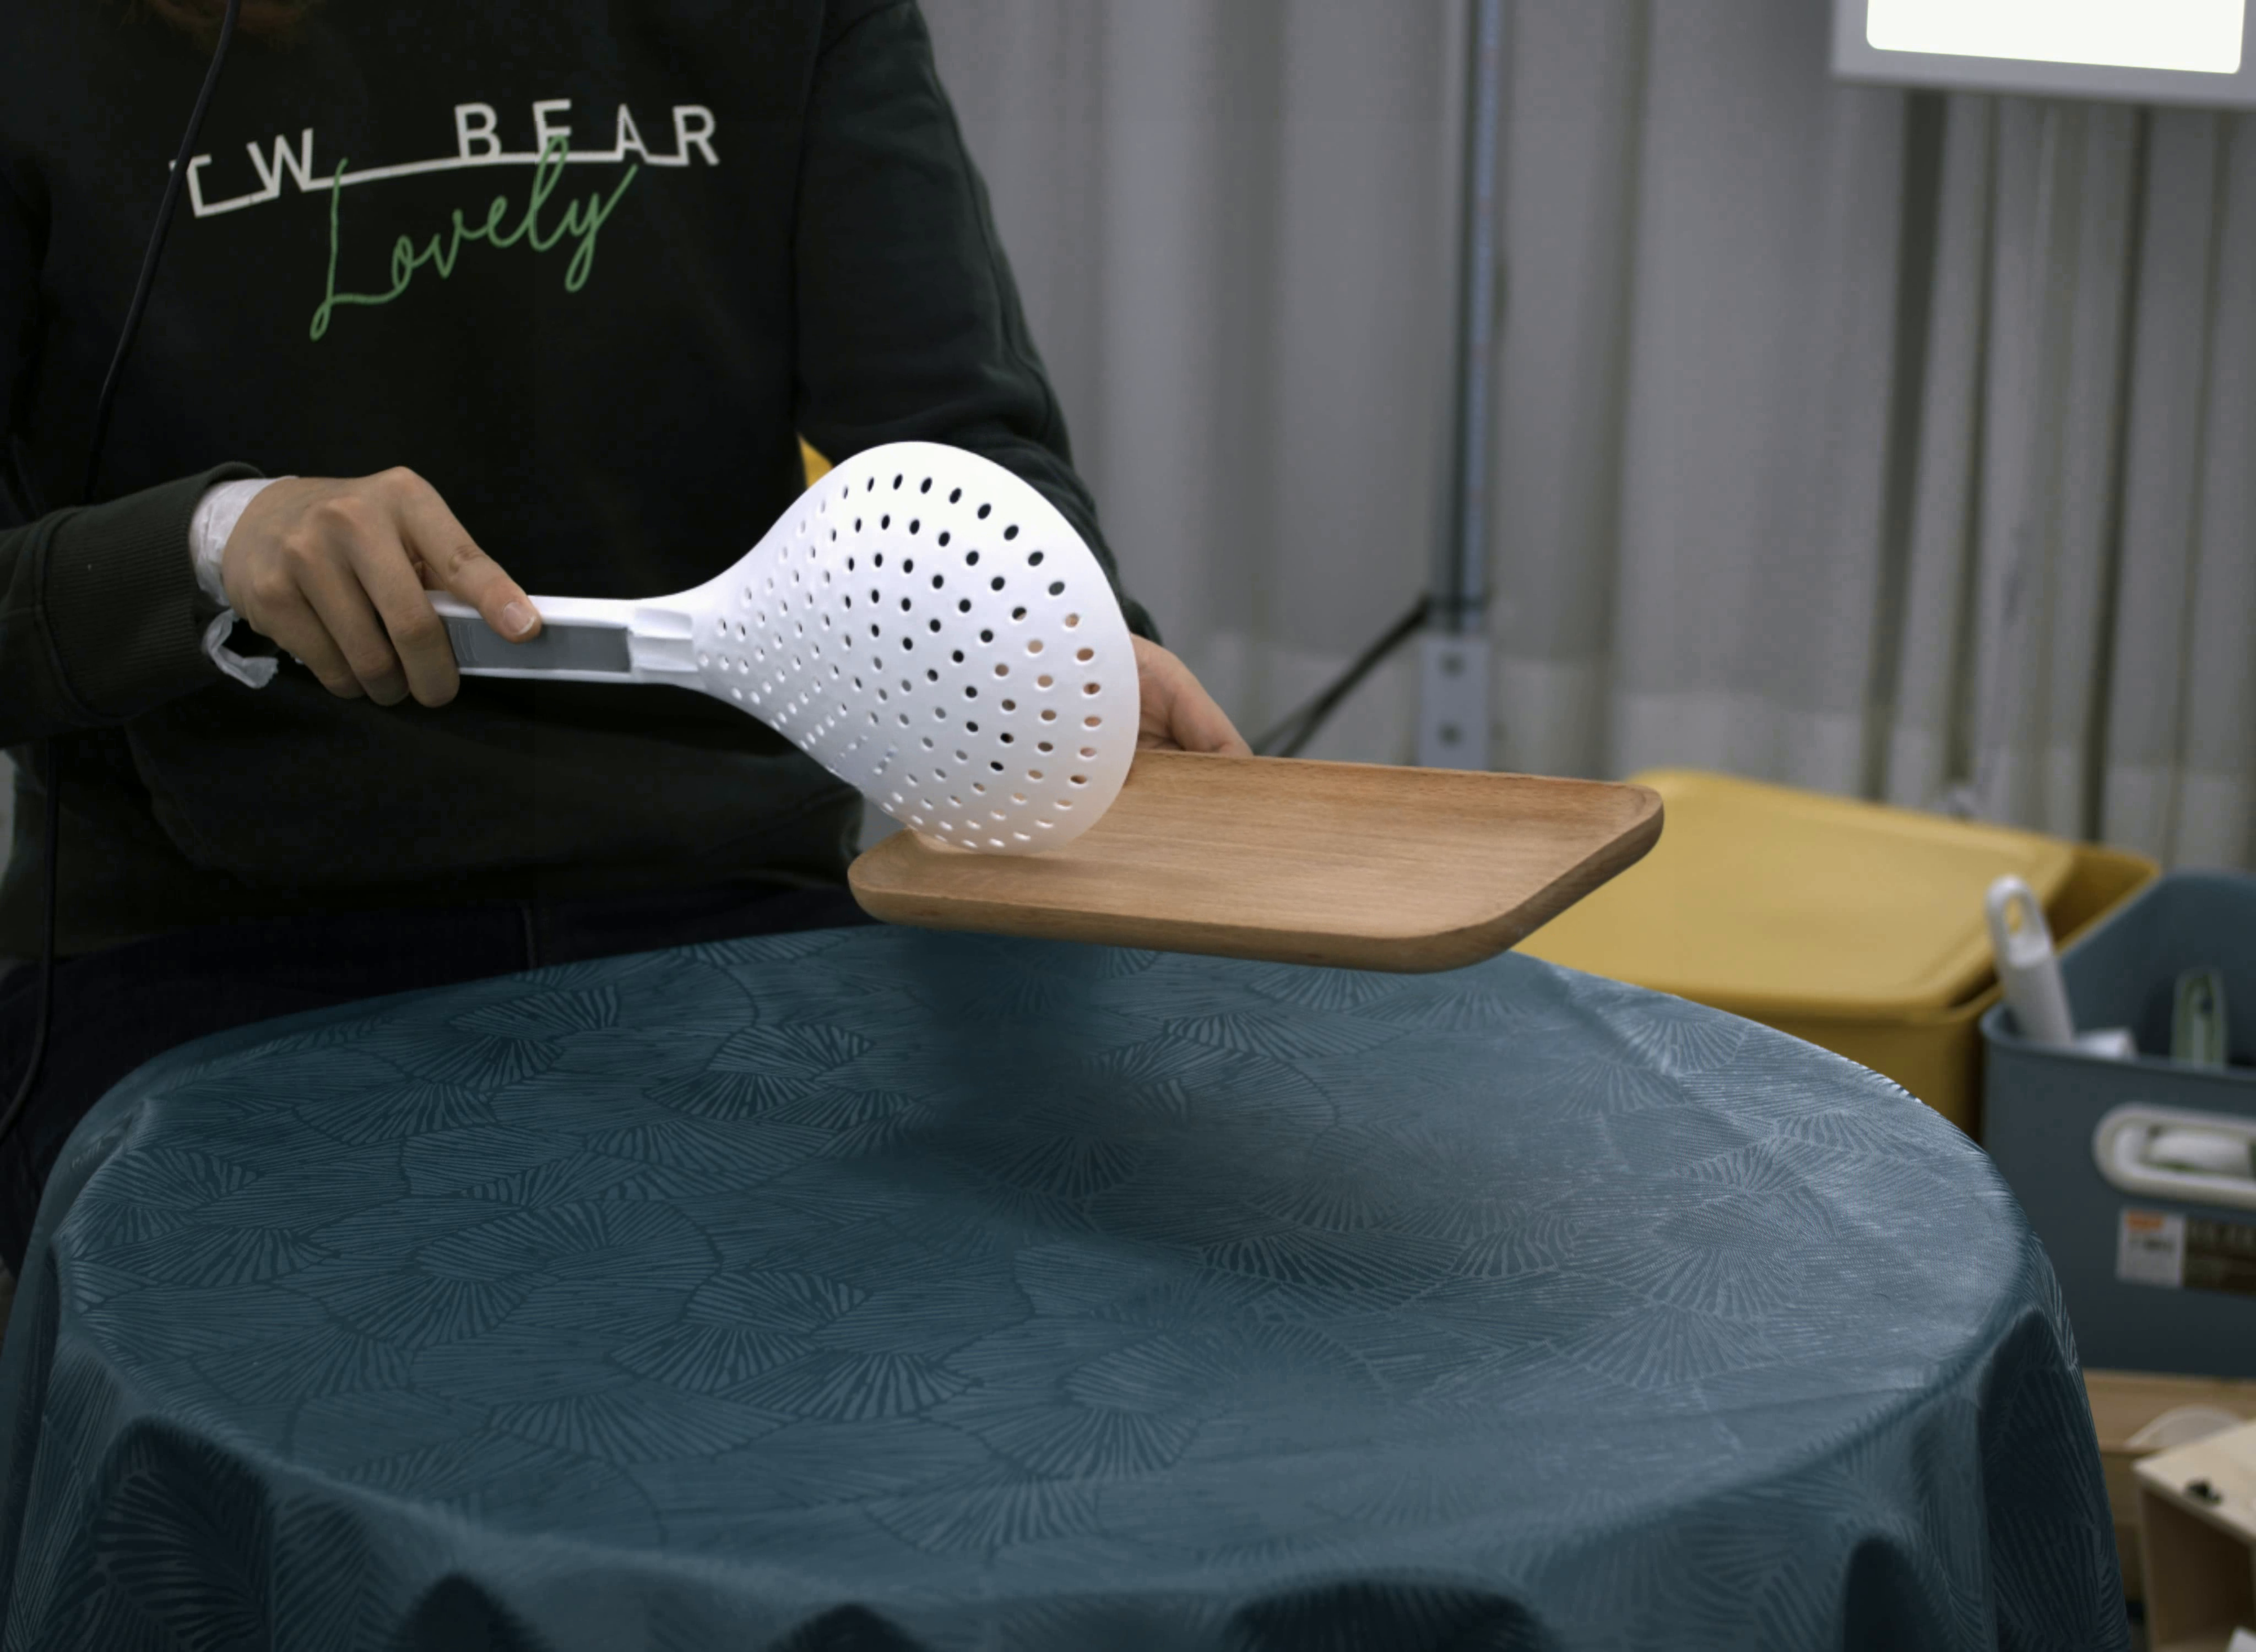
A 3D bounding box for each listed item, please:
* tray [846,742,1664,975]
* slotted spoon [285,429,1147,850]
[{"bbox_3d":[0.037,0.008,1.607,0.247,0.023,0.131,4,22,39],"label":"tray"},{"bbox_3d":[-0.141,-0.060,1.681,0.345,0.137,0.046,6,24,40],"label":"slotted spoon"}]
